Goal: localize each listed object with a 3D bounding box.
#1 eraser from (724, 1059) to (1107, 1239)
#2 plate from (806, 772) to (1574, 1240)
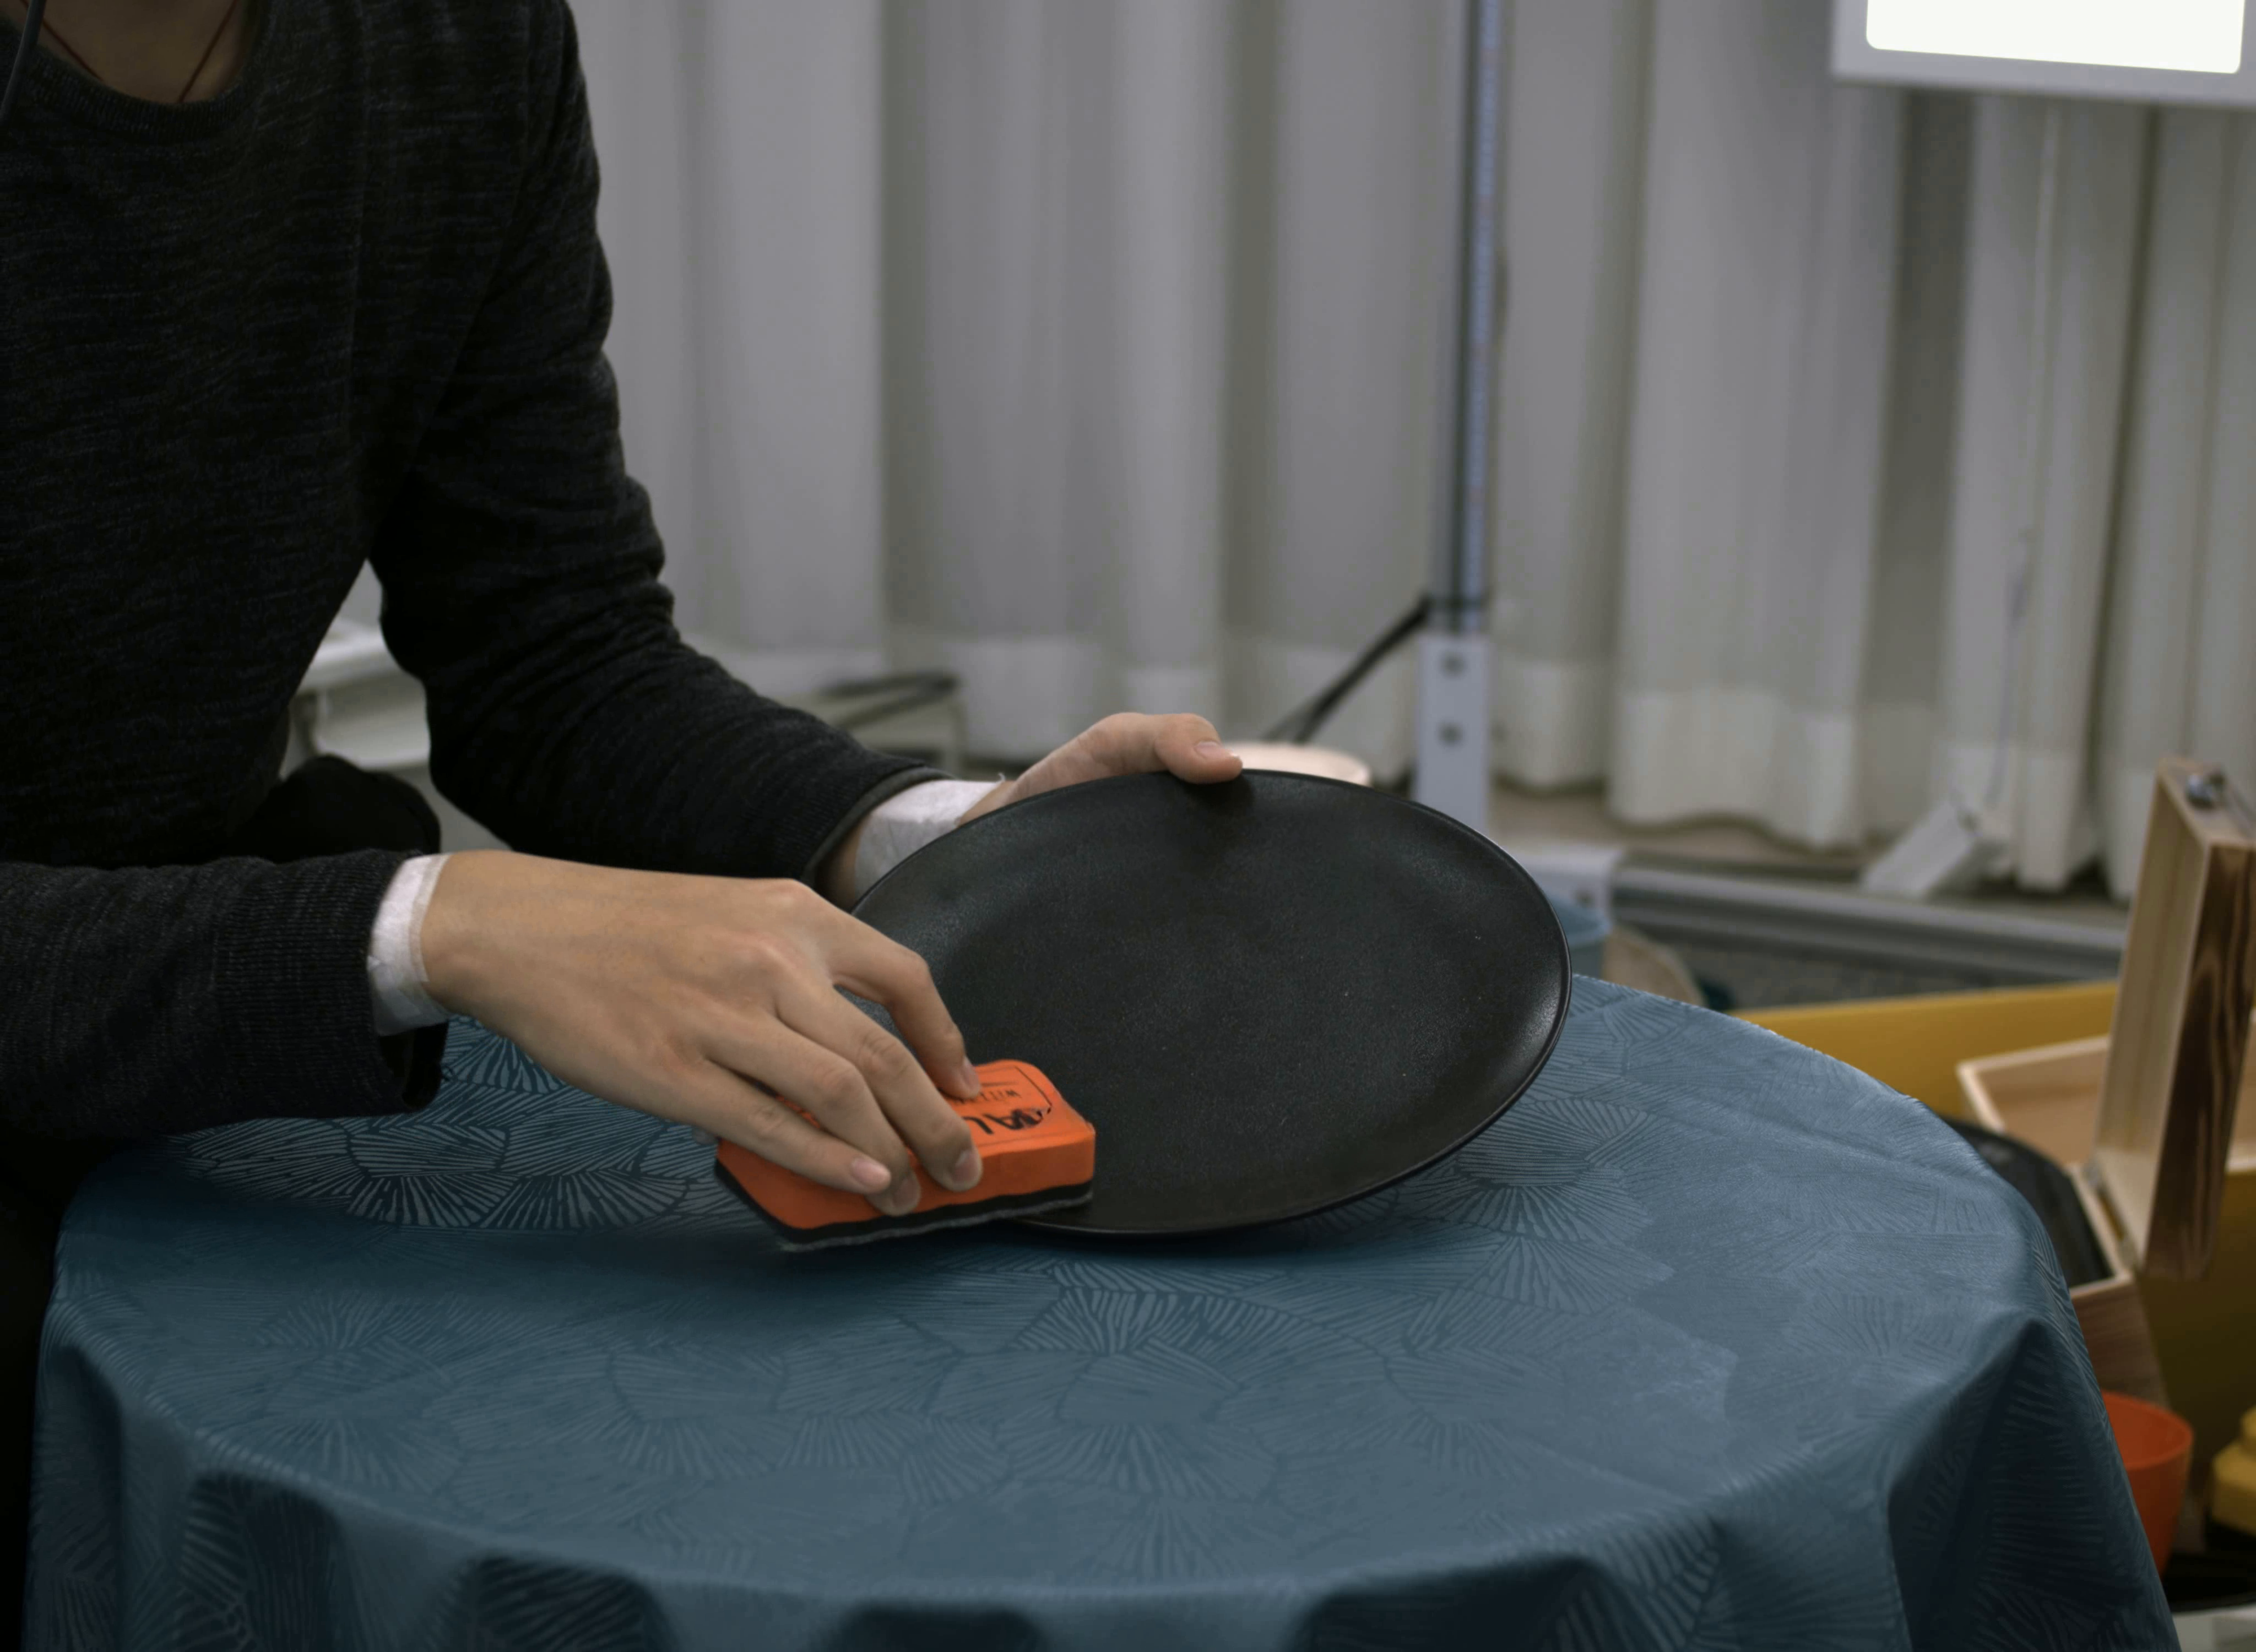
[{"bbox_3d":[-0.063,0.096,1.576,0.108,0.023,0.058,-9,20,-25],"label":"eraser"},{"bbox_3d":[0.020,0.059,1.662,0.243,0.024,0.242,-4,35,3],"label":"plate"}]
